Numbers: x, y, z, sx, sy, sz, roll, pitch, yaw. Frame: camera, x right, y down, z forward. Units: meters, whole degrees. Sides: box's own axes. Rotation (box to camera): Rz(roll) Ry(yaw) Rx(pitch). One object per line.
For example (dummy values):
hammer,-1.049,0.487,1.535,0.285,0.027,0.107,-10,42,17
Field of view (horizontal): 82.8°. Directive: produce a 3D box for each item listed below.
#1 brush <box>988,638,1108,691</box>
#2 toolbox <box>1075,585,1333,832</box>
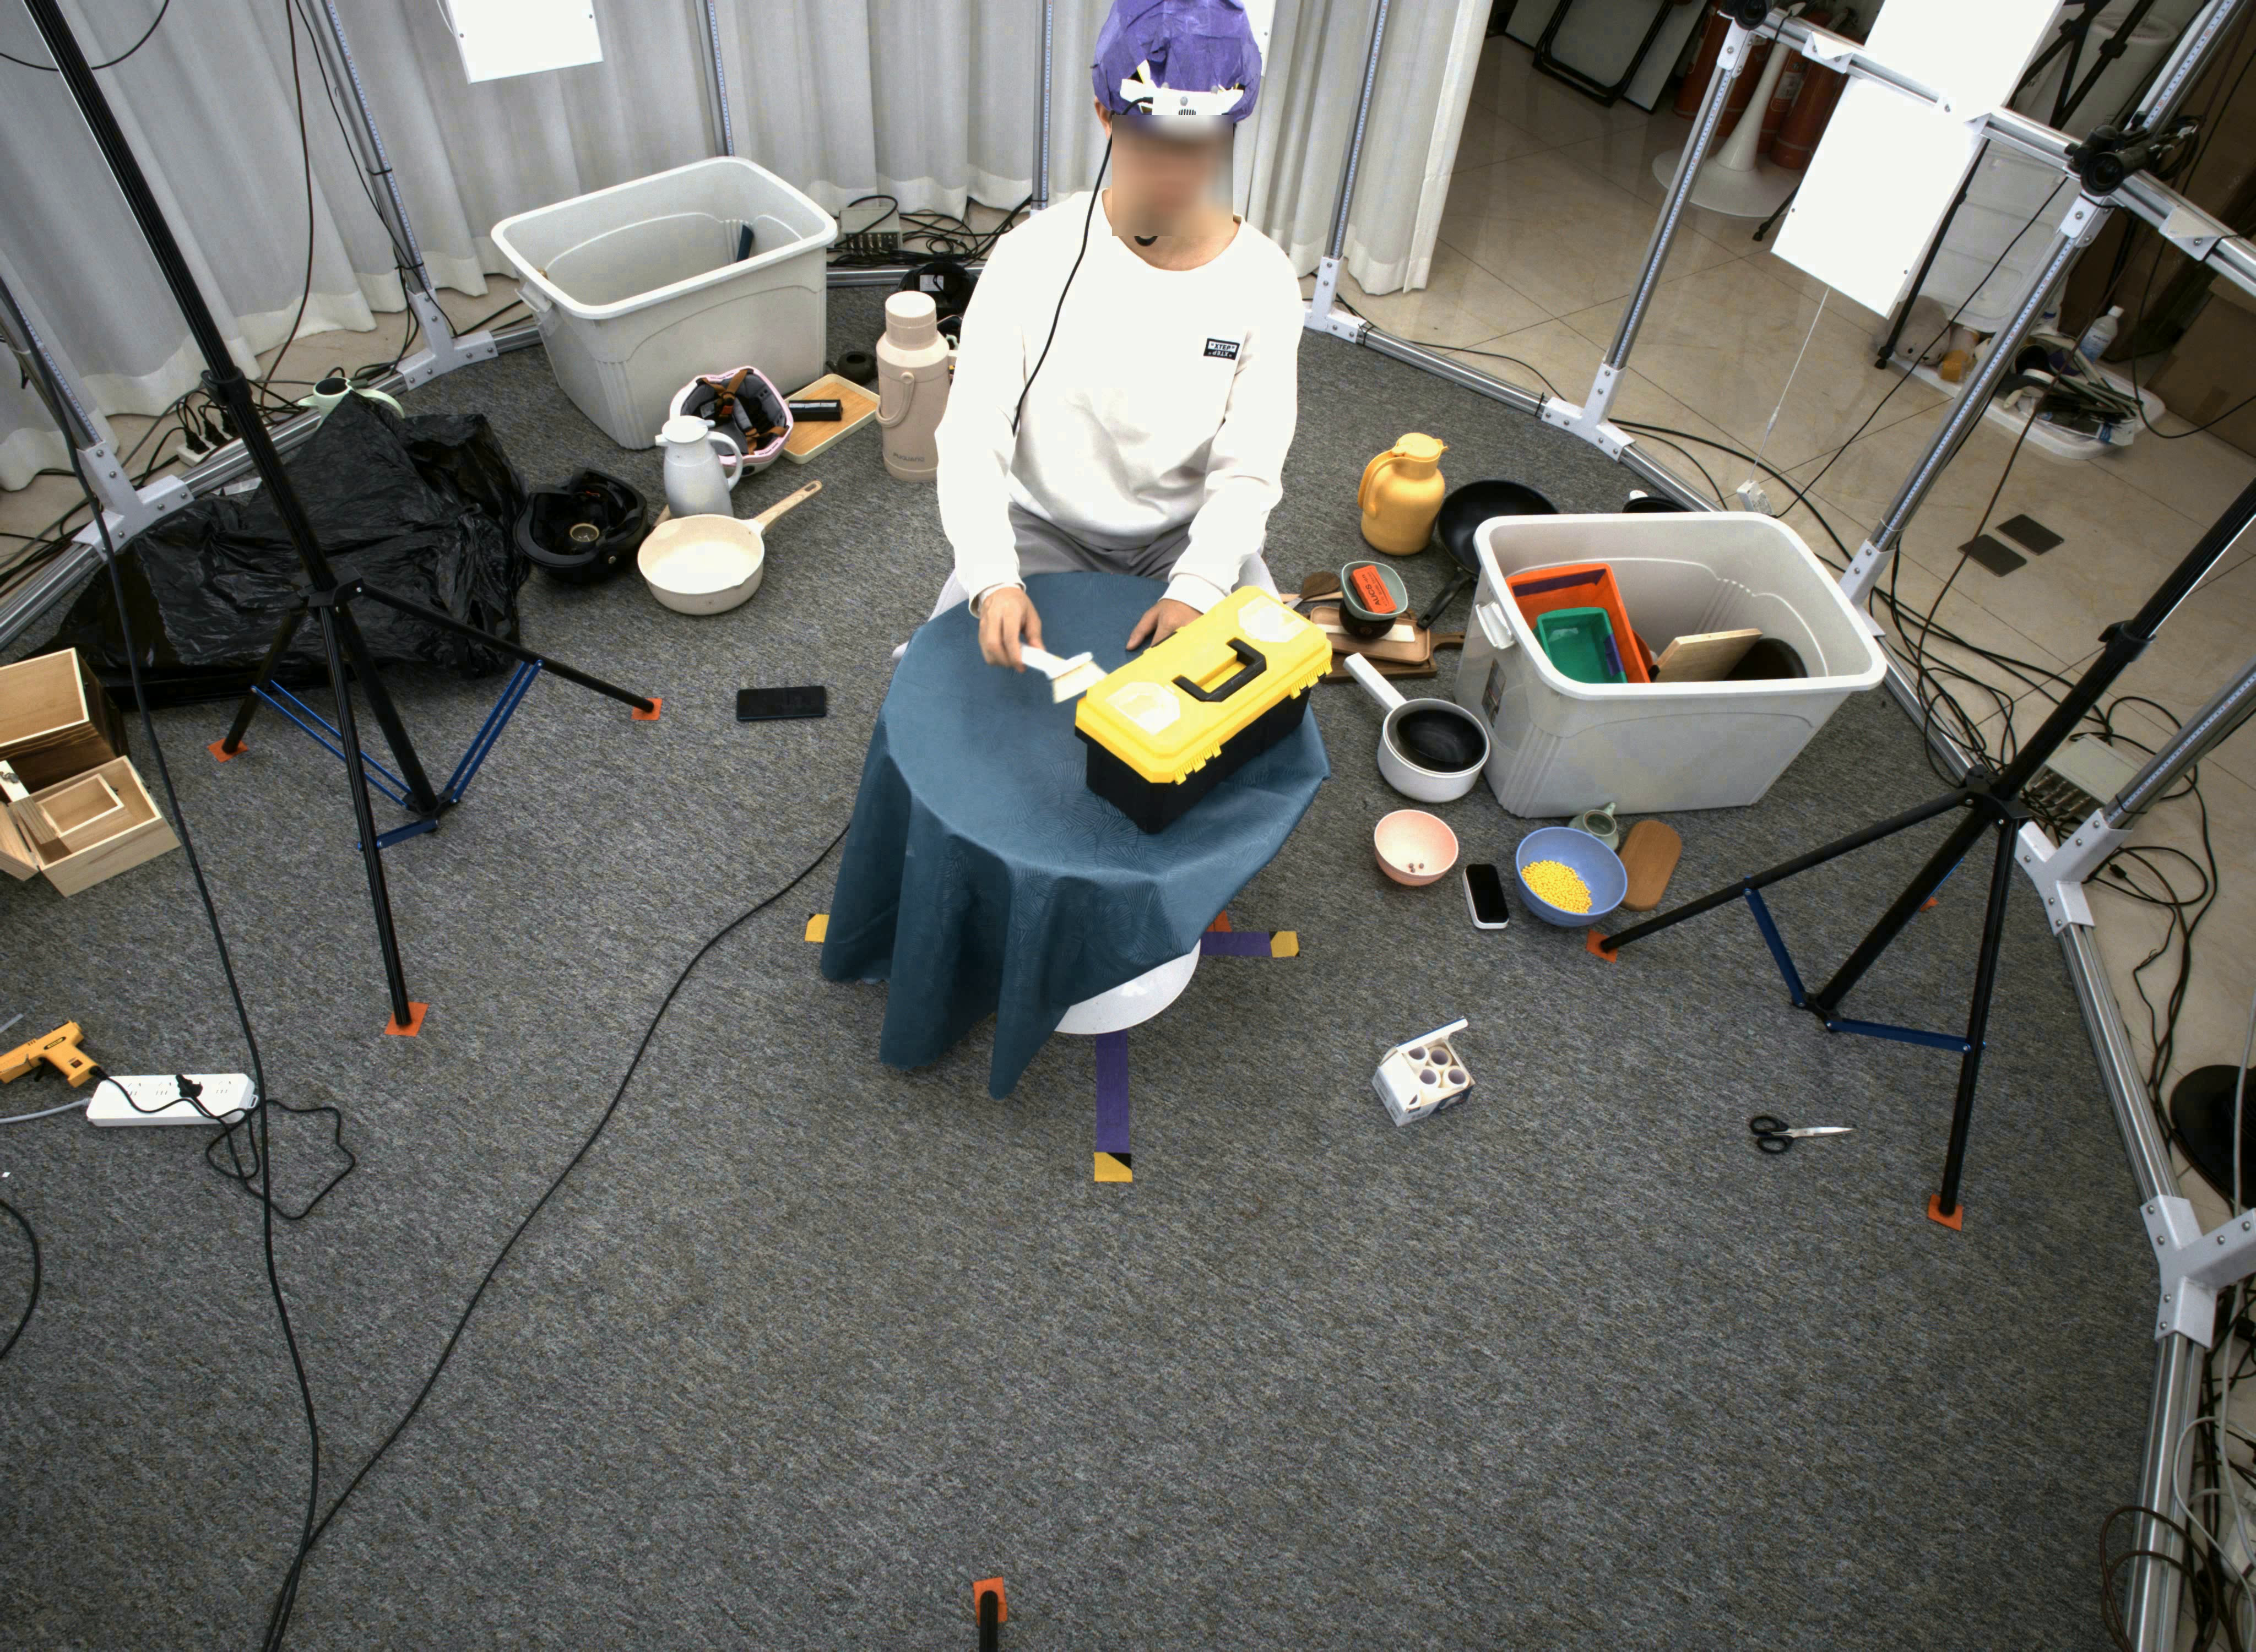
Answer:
brush,-0.113,-0.216,1.702,0.068,0.055,0.269,-17,18,-29
toolbox,0.098,-0.158,1.696,0.184,0.169,0.355,39,56,24
